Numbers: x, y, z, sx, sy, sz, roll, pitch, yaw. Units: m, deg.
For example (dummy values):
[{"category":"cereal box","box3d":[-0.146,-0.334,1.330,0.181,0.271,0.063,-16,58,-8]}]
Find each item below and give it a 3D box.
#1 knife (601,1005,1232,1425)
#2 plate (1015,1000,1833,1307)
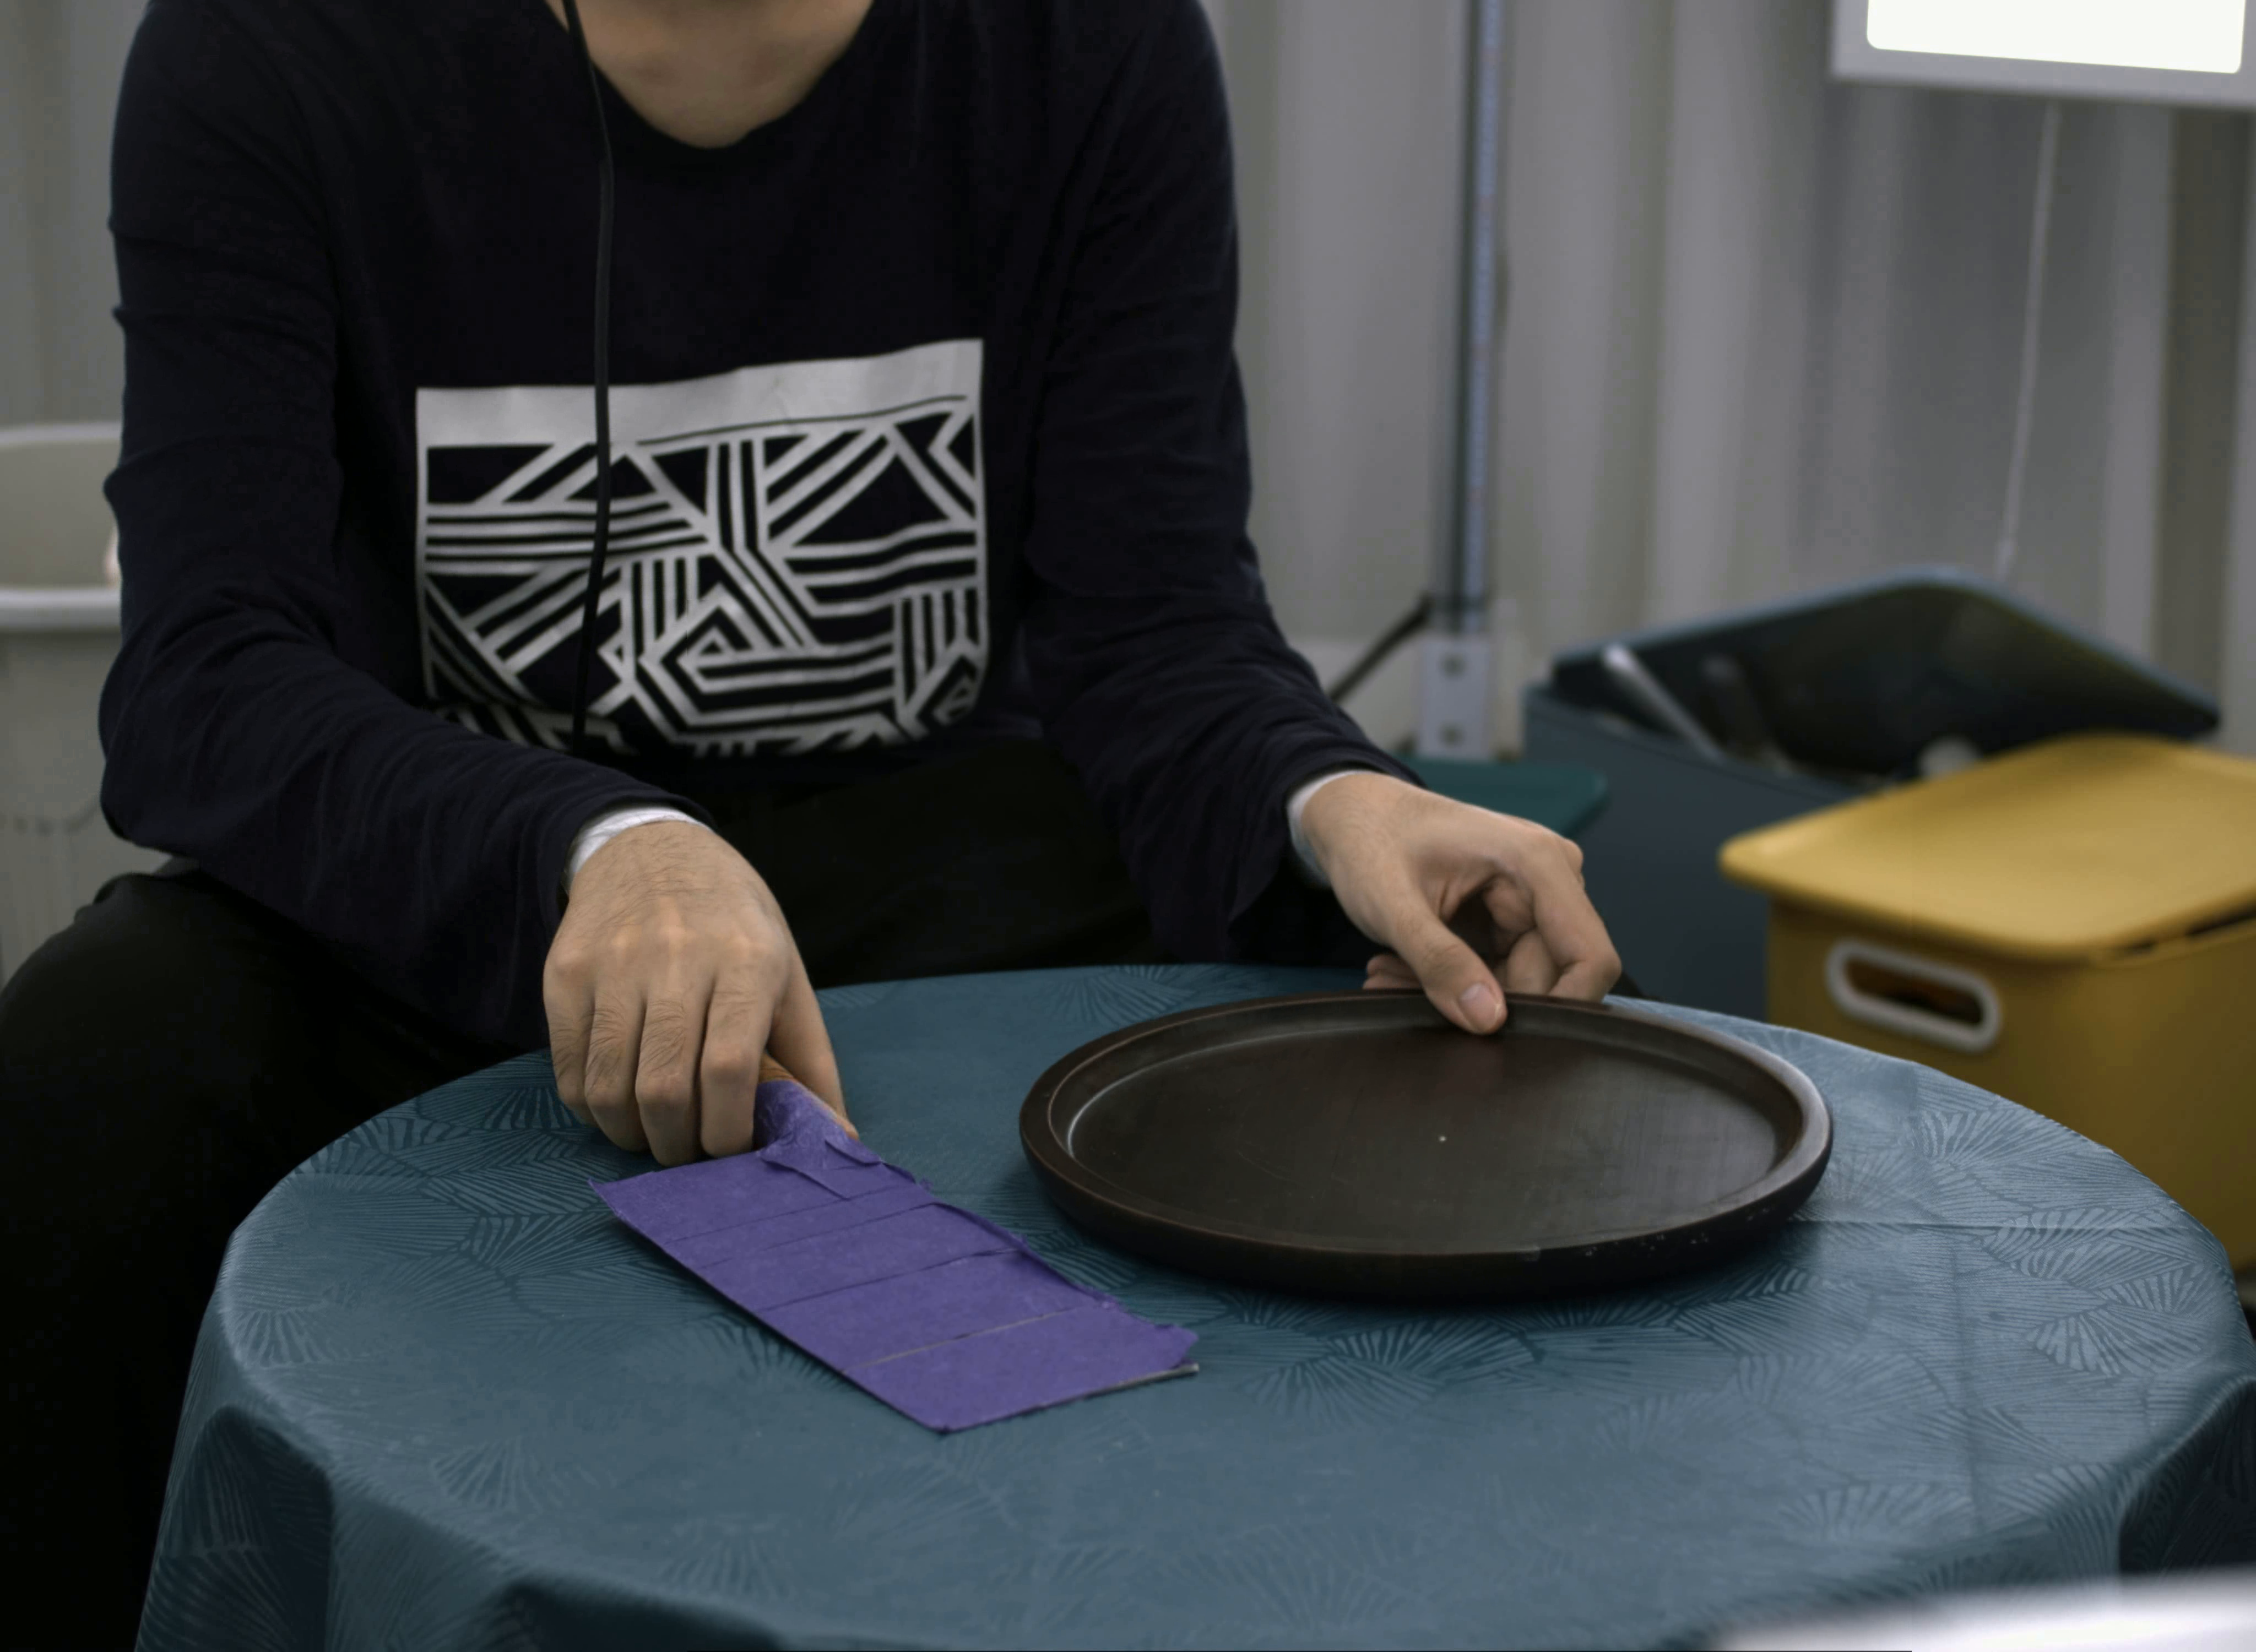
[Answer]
[{"category":"knife","box3d":[-0.097,0.112,1.571,0.104,0.032,0.311,-9,19,-33]},{"category":"plate","box3d":[0.091,0.098,1.632,0.254,0.029,0.253,1,17,0]}]
